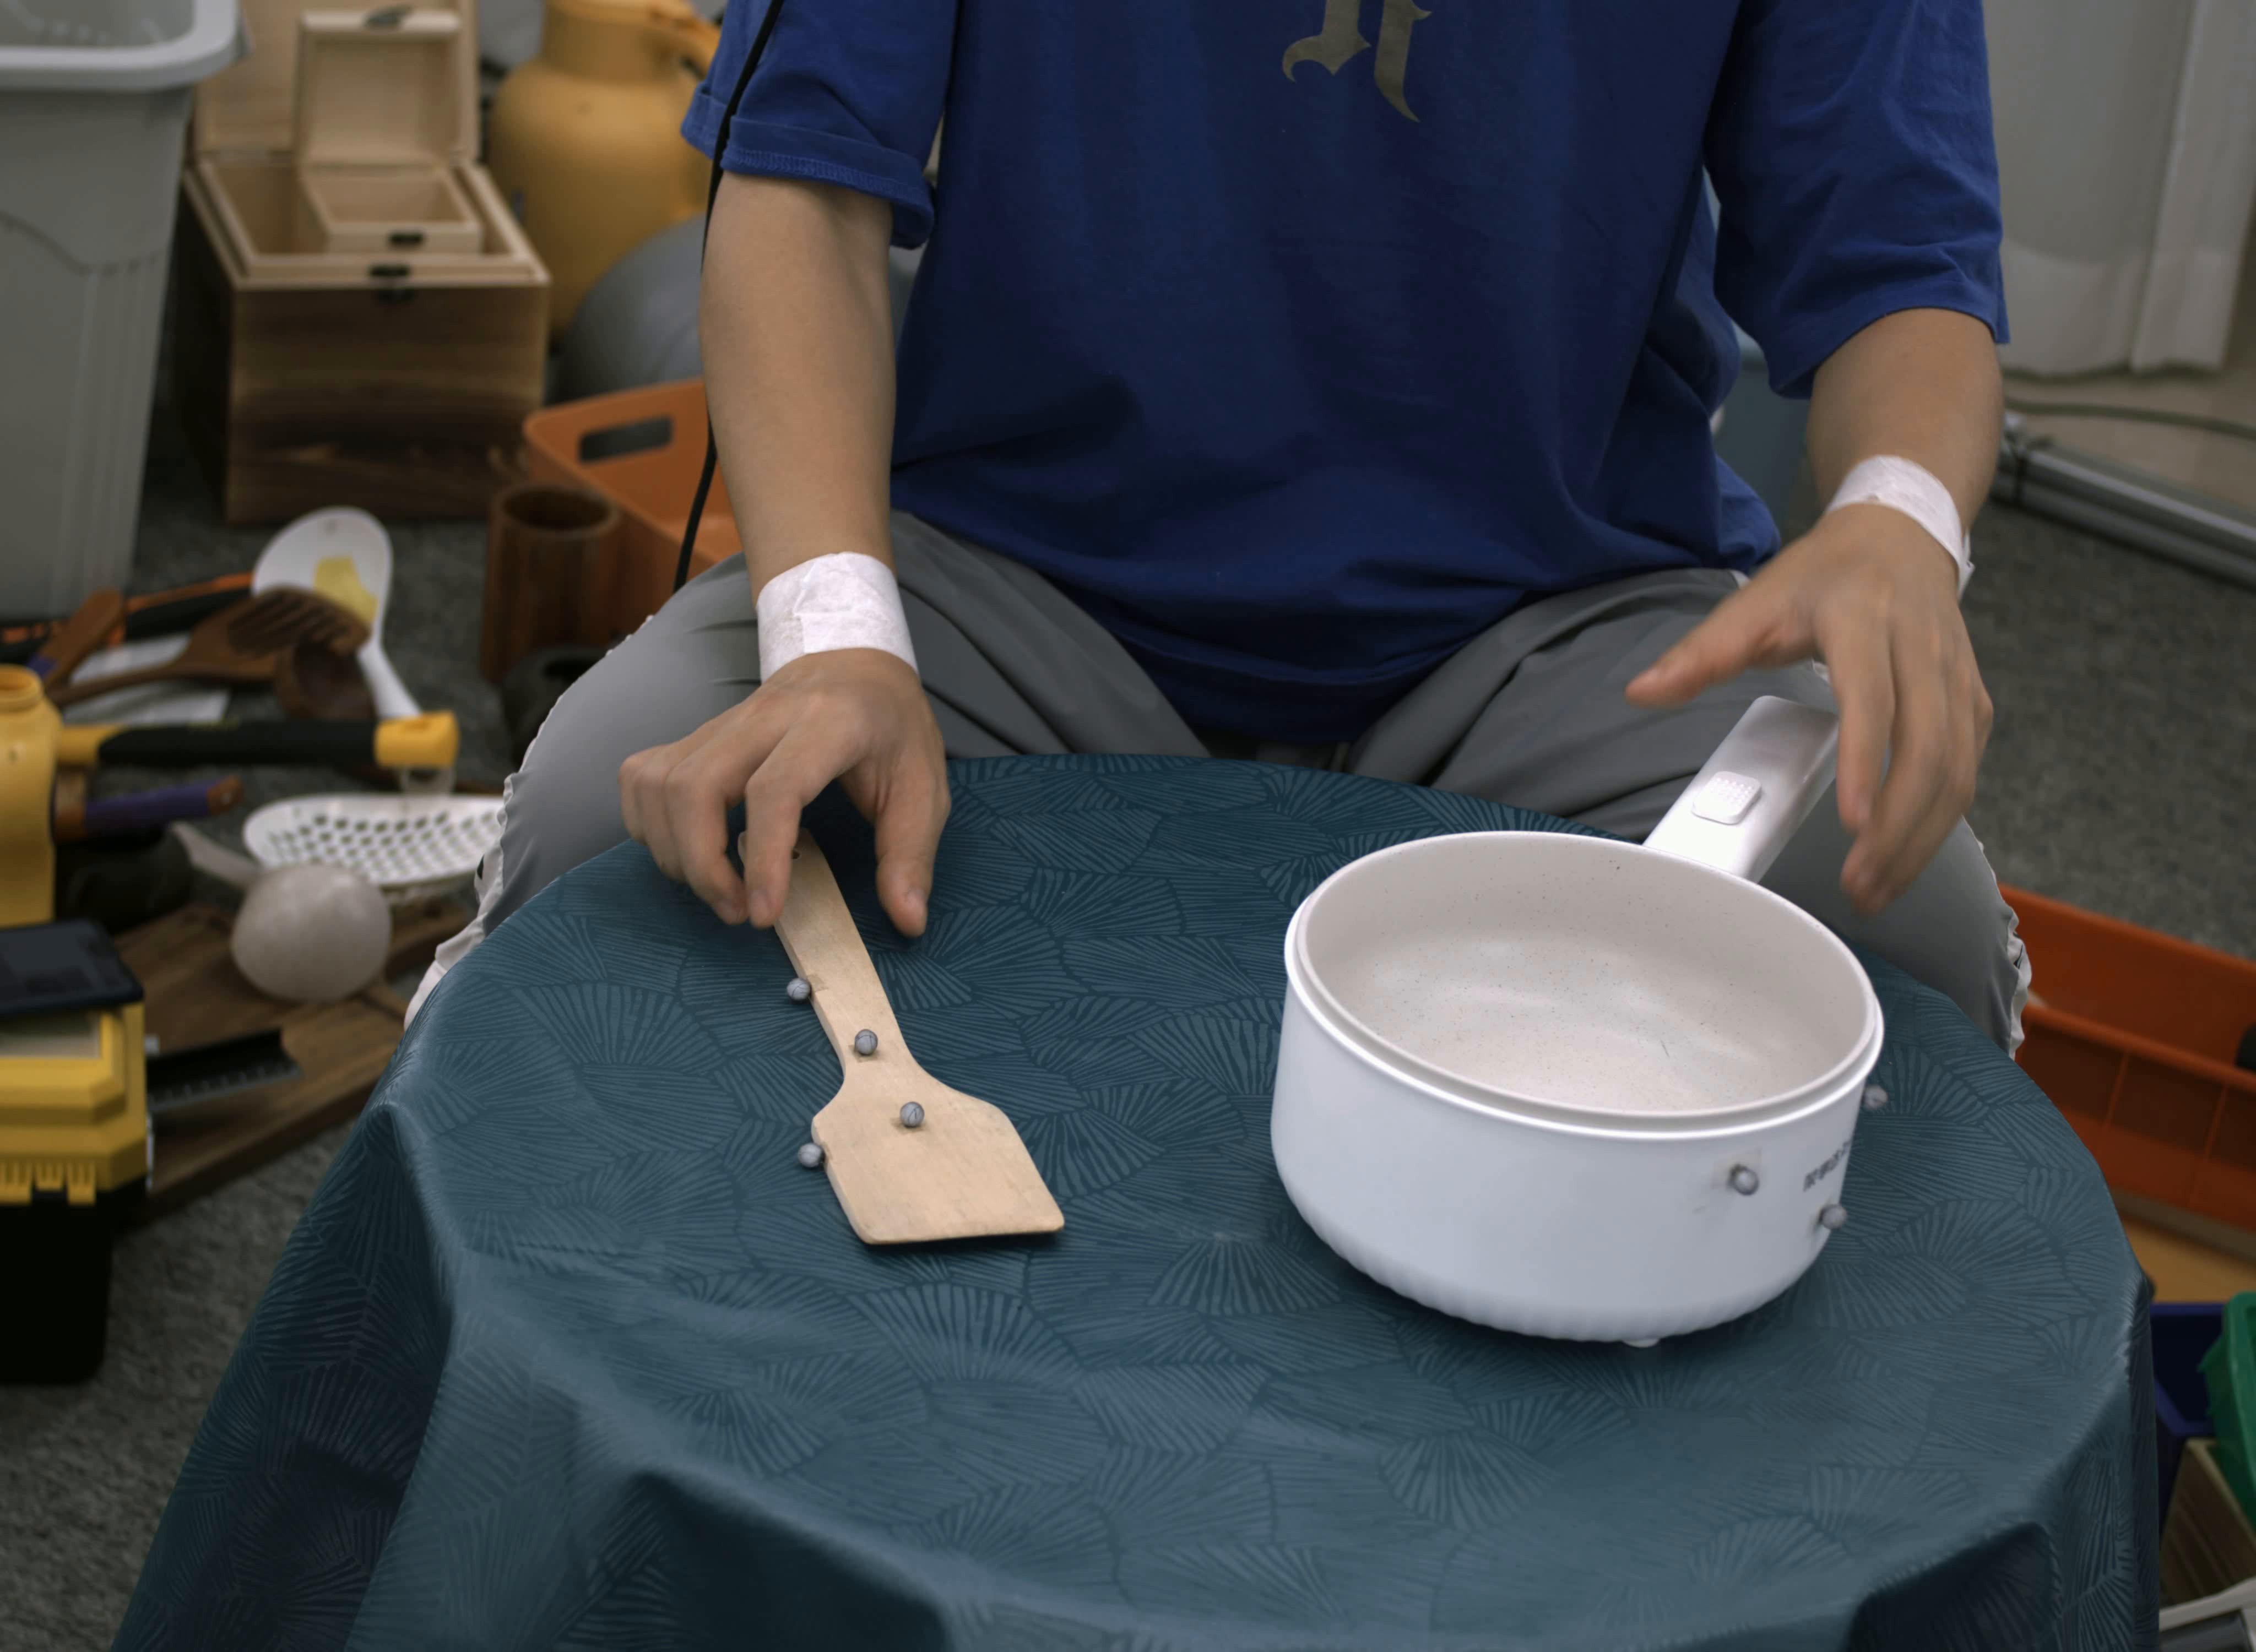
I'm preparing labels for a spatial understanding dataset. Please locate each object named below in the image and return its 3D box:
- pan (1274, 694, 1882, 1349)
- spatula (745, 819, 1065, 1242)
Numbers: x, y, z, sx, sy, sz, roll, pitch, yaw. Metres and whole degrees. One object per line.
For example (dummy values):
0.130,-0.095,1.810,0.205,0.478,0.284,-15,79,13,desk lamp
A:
0.177,0.063,1.856,0.202,0.102,0.355,14,28,19,pan
-0.094,0.069,1.880,0.072,0.010,0.295,-3,29,-16,spatula
